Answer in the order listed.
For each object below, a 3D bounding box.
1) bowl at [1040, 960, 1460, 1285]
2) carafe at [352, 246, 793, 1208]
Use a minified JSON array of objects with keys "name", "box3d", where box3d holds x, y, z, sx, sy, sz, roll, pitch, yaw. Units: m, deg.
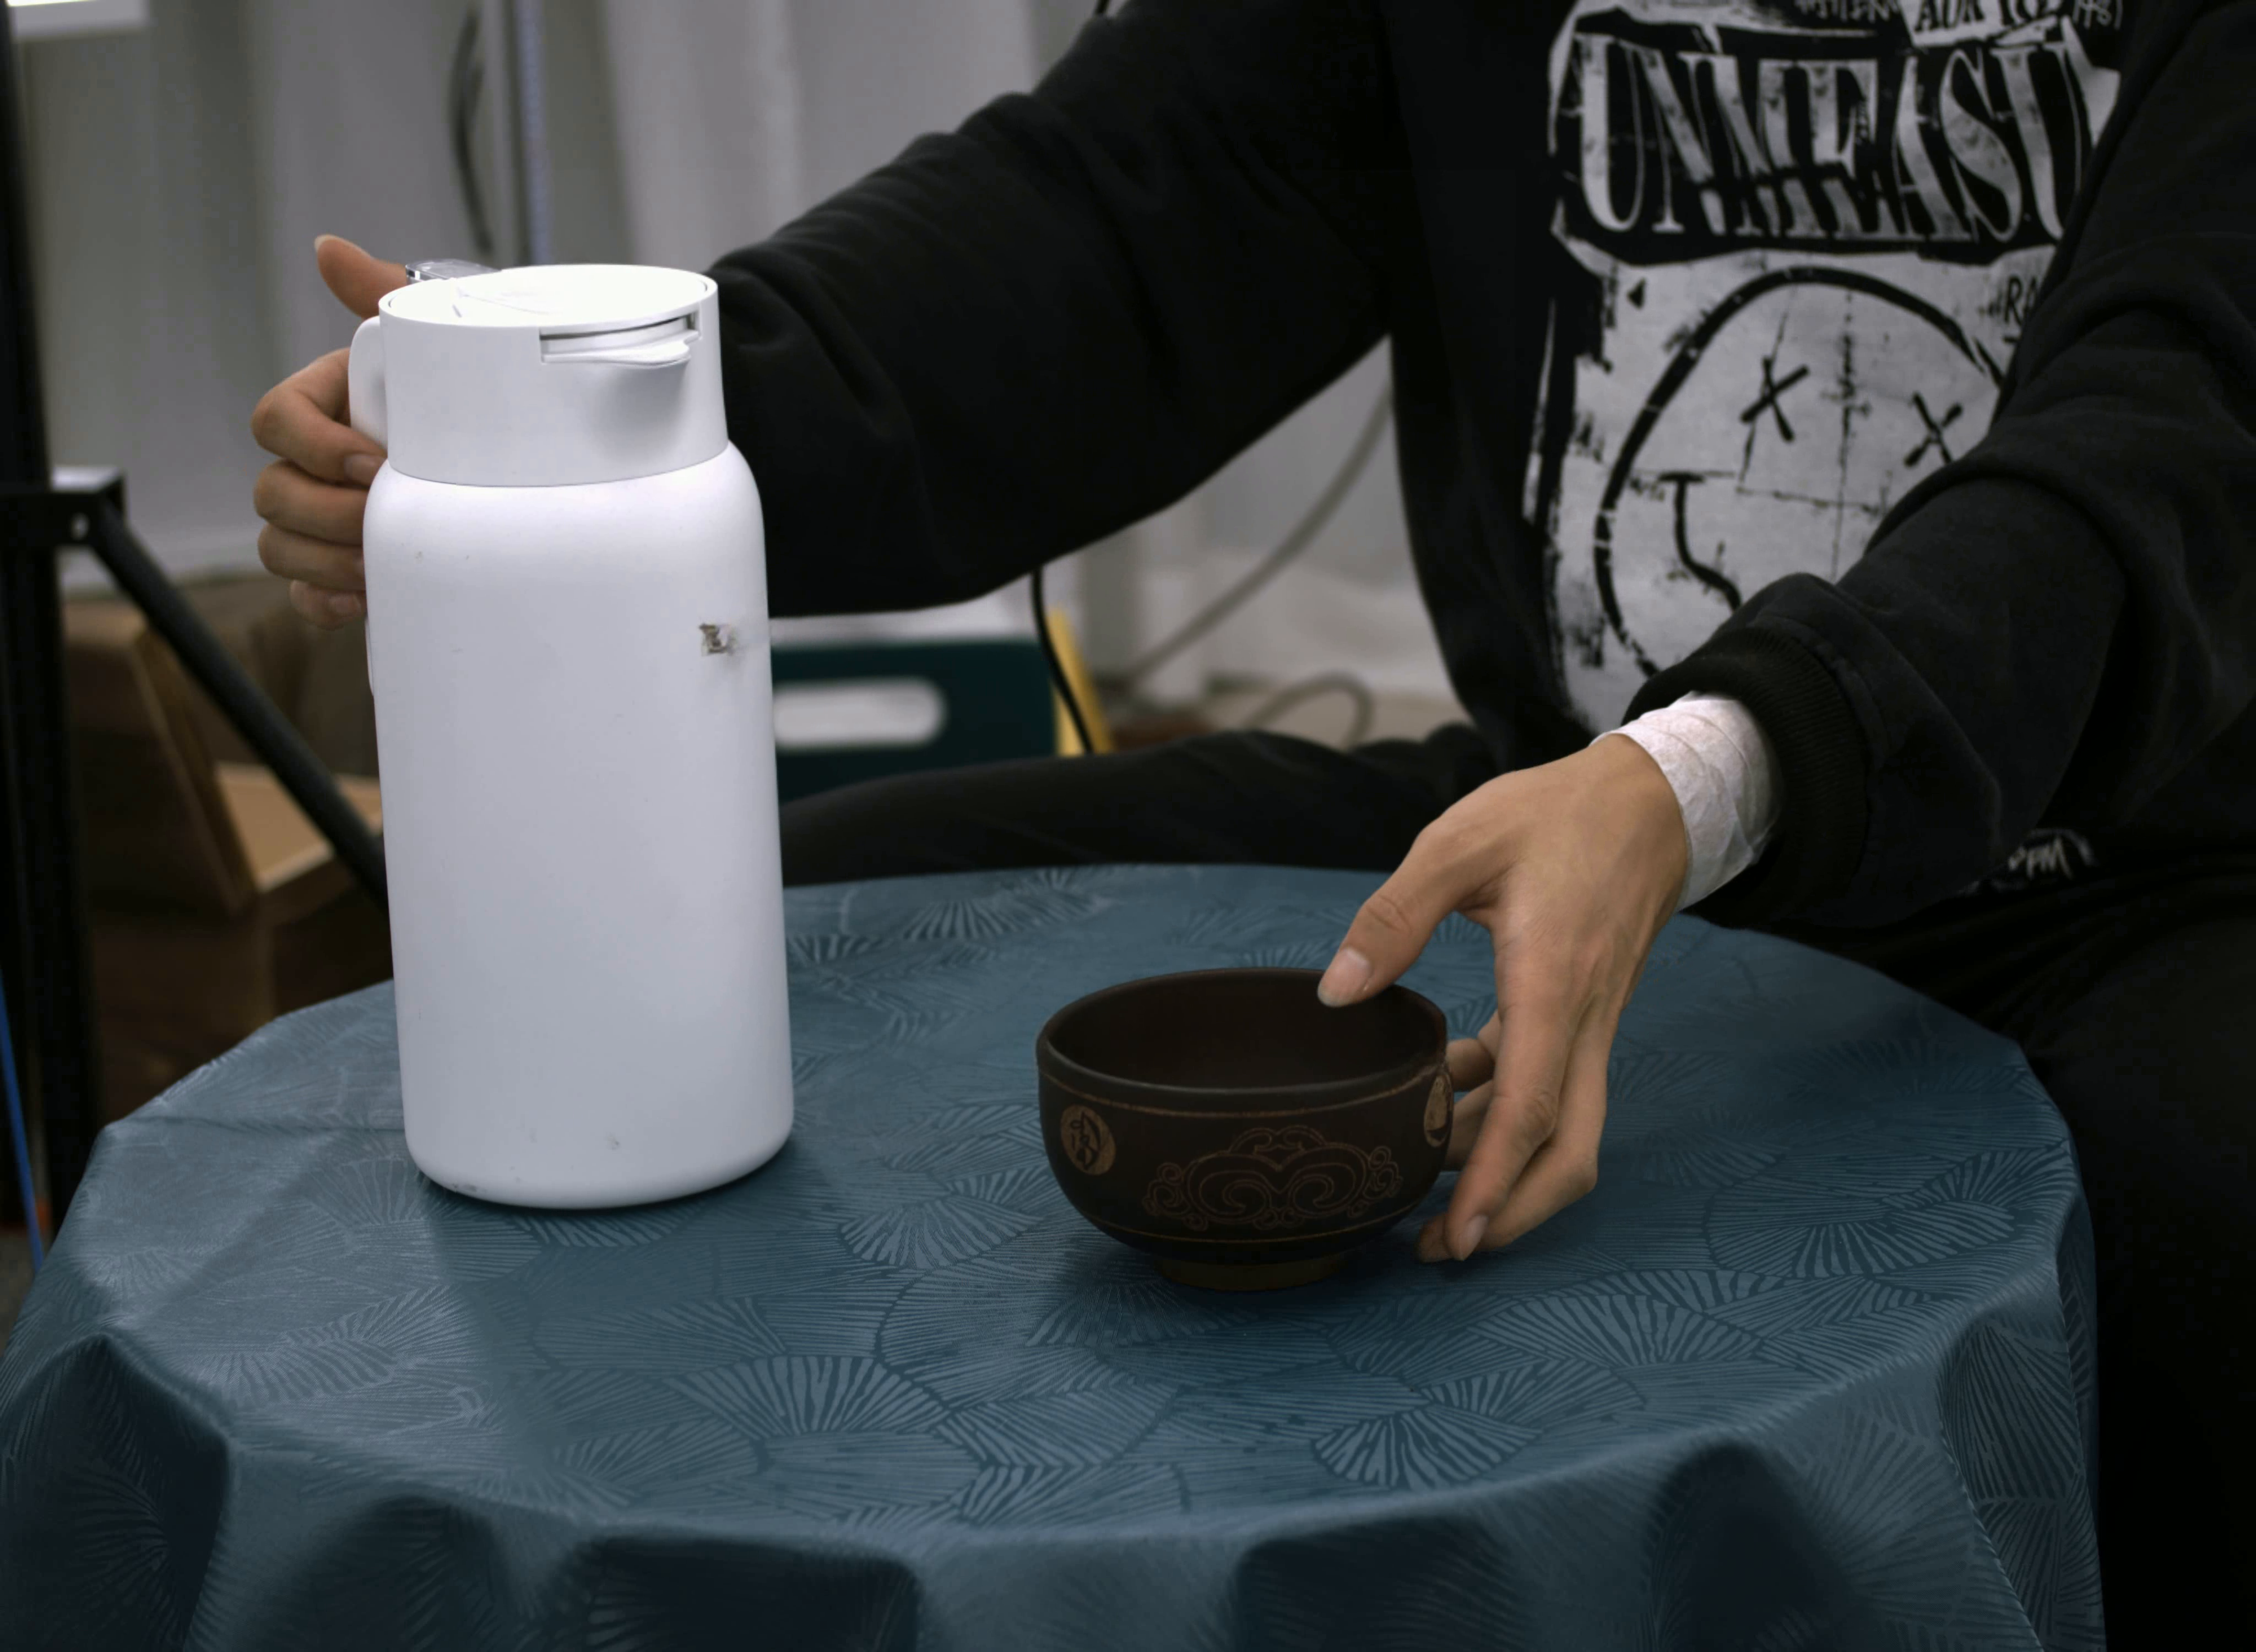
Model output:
[{"name":"bowl","box3d":[0.035,0.087,1.488,0.117,0.070,0.118,-3,15,-1]},{"name":"carafe","box3d":[-0.174,-0.032,1.590,0.121,0.269,0.177,-15,19,-33]}]
